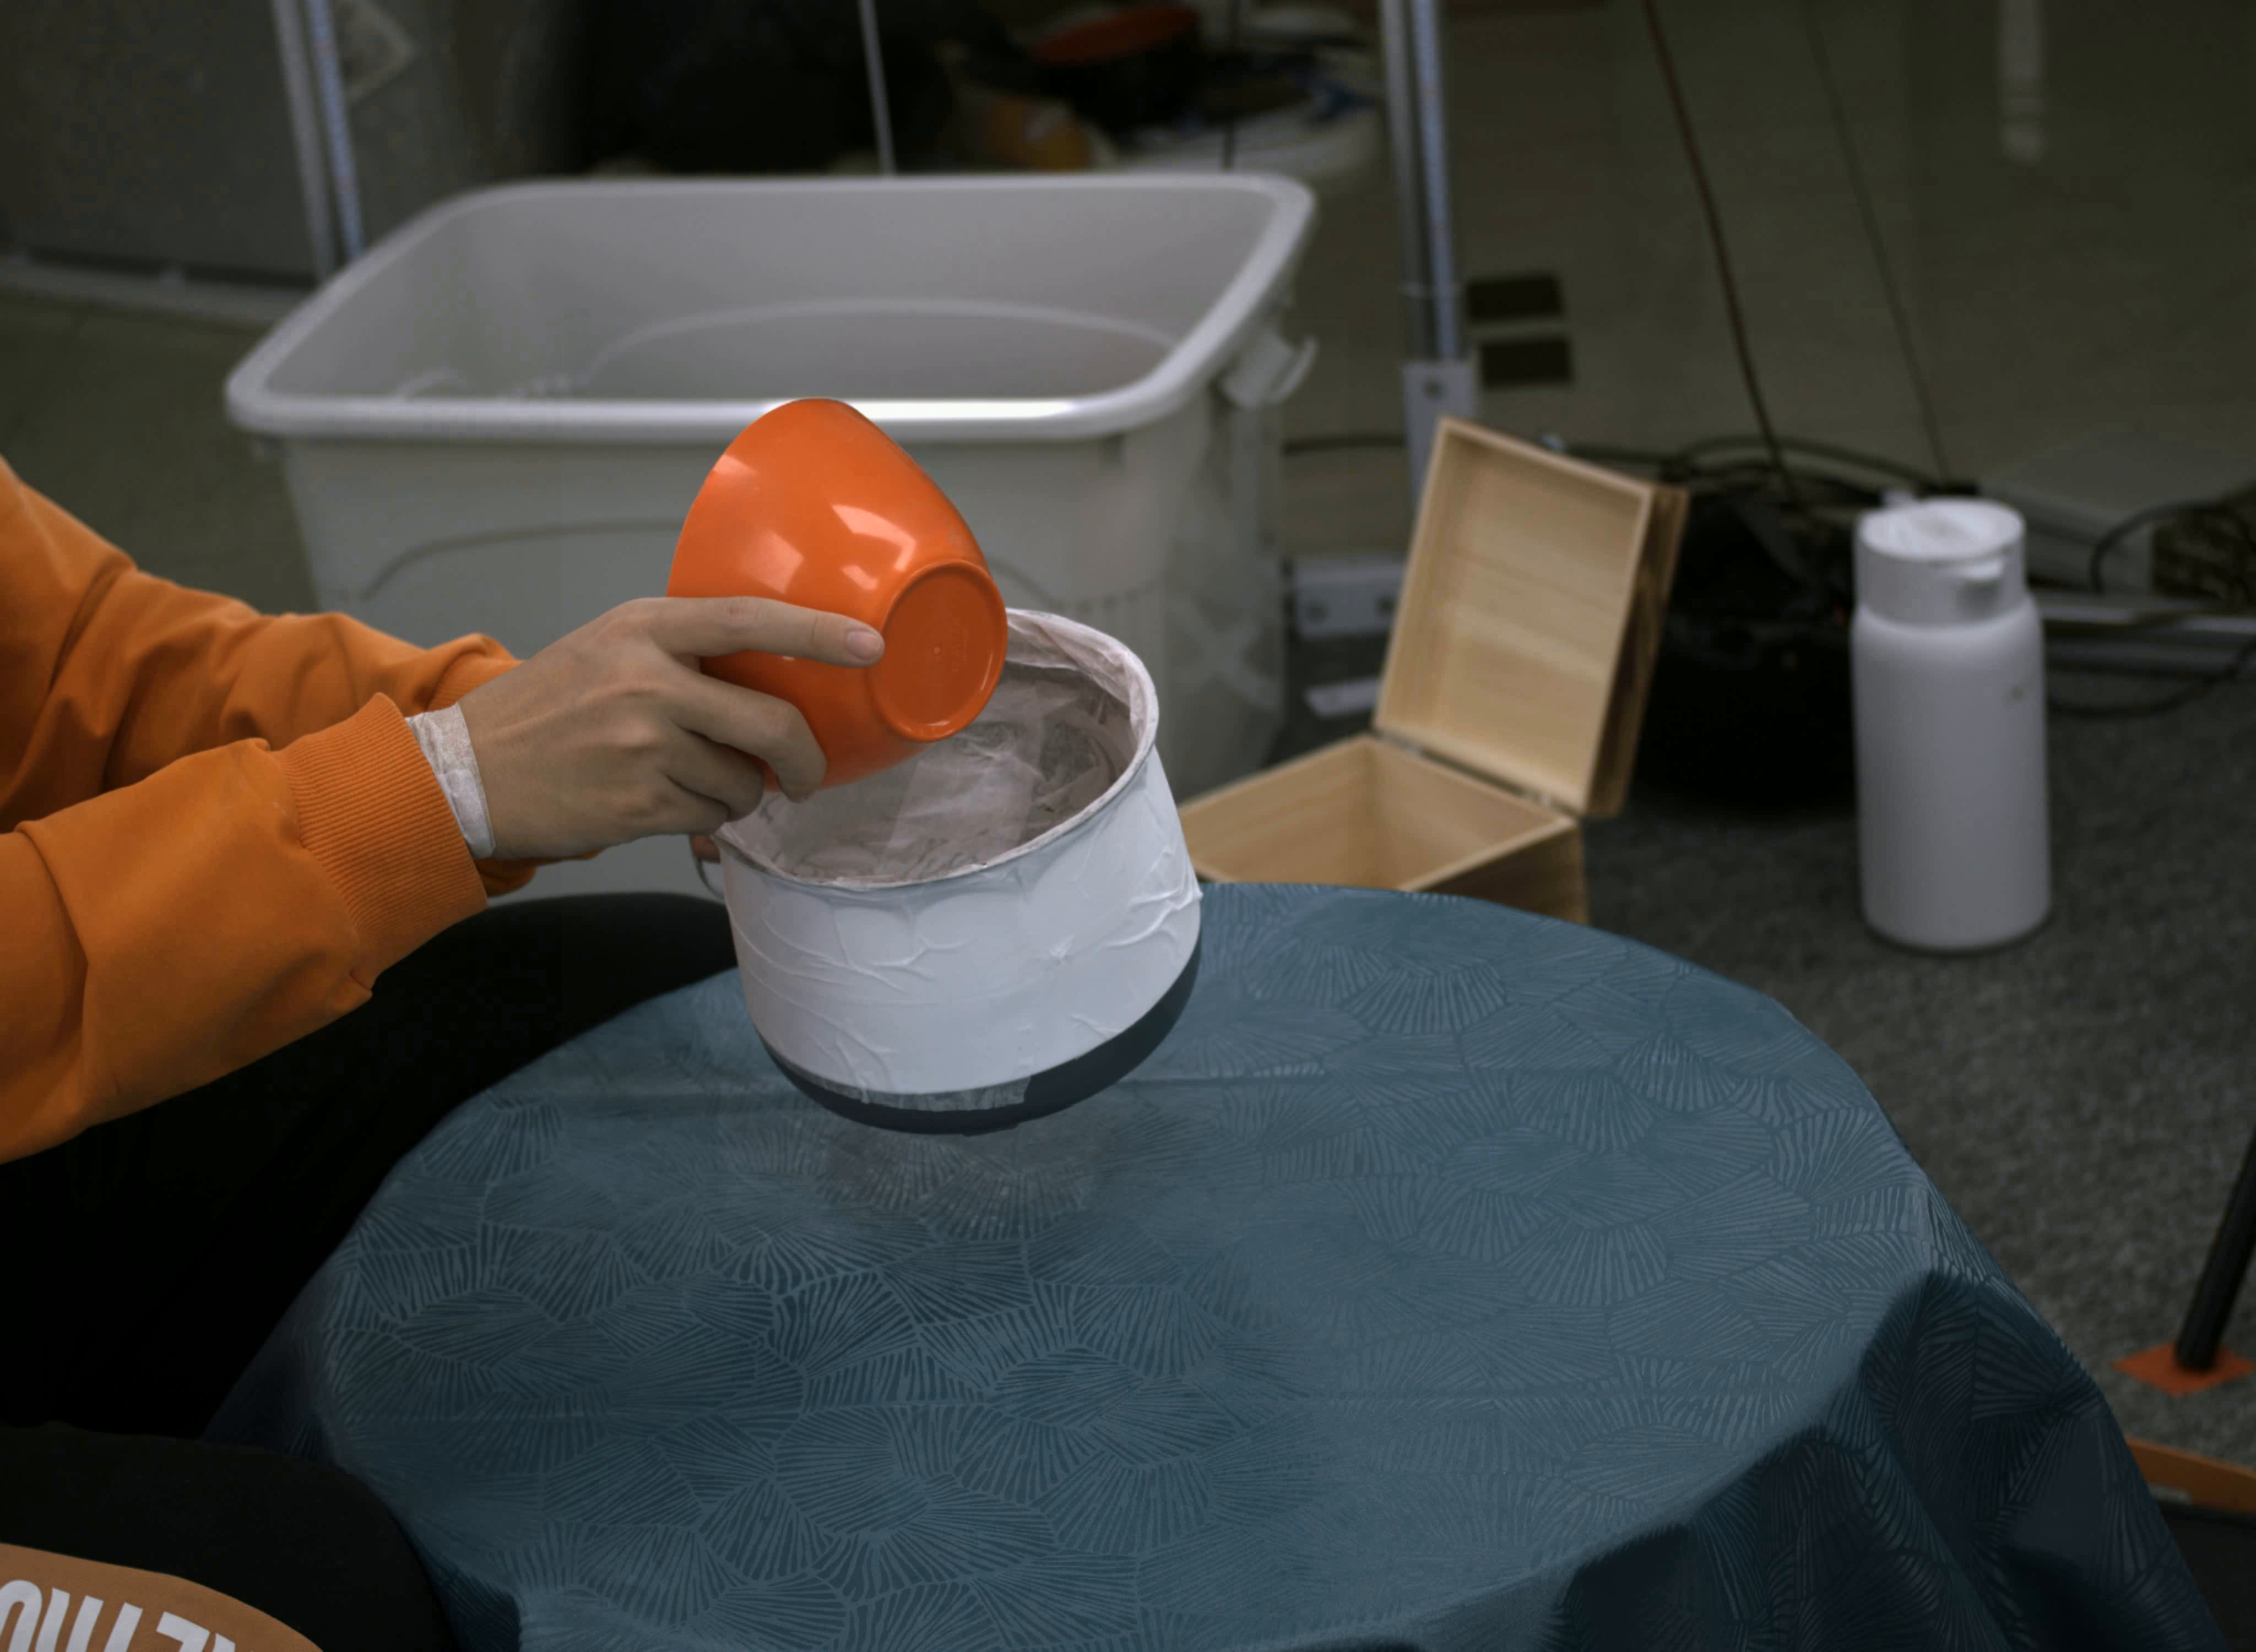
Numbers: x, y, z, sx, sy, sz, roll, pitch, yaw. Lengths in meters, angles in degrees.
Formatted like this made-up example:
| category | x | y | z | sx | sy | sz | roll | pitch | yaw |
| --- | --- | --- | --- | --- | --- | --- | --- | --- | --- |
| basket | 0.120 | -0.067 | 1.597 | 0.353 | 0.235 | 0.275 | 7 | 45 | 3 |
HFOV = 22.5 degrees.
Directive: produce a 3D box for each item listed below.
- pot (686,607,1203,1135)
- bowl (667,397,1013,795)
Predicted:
| category | x | y | z | sx | sy | sz | roll | pitch | yaw |
| --- | --- | --- | --- | --- | --- | --- | --- | --- | --- |
| pot | -0.085 | 0.012 | 2.147 | 0.232 | 0.139 | 0.177 | 21 | 47 | 37 |
| bowl | -0.093 | -0.075 | 2.045 | 0.104 | 0.150 | 0.146 | 18 | 34 | 40 |
